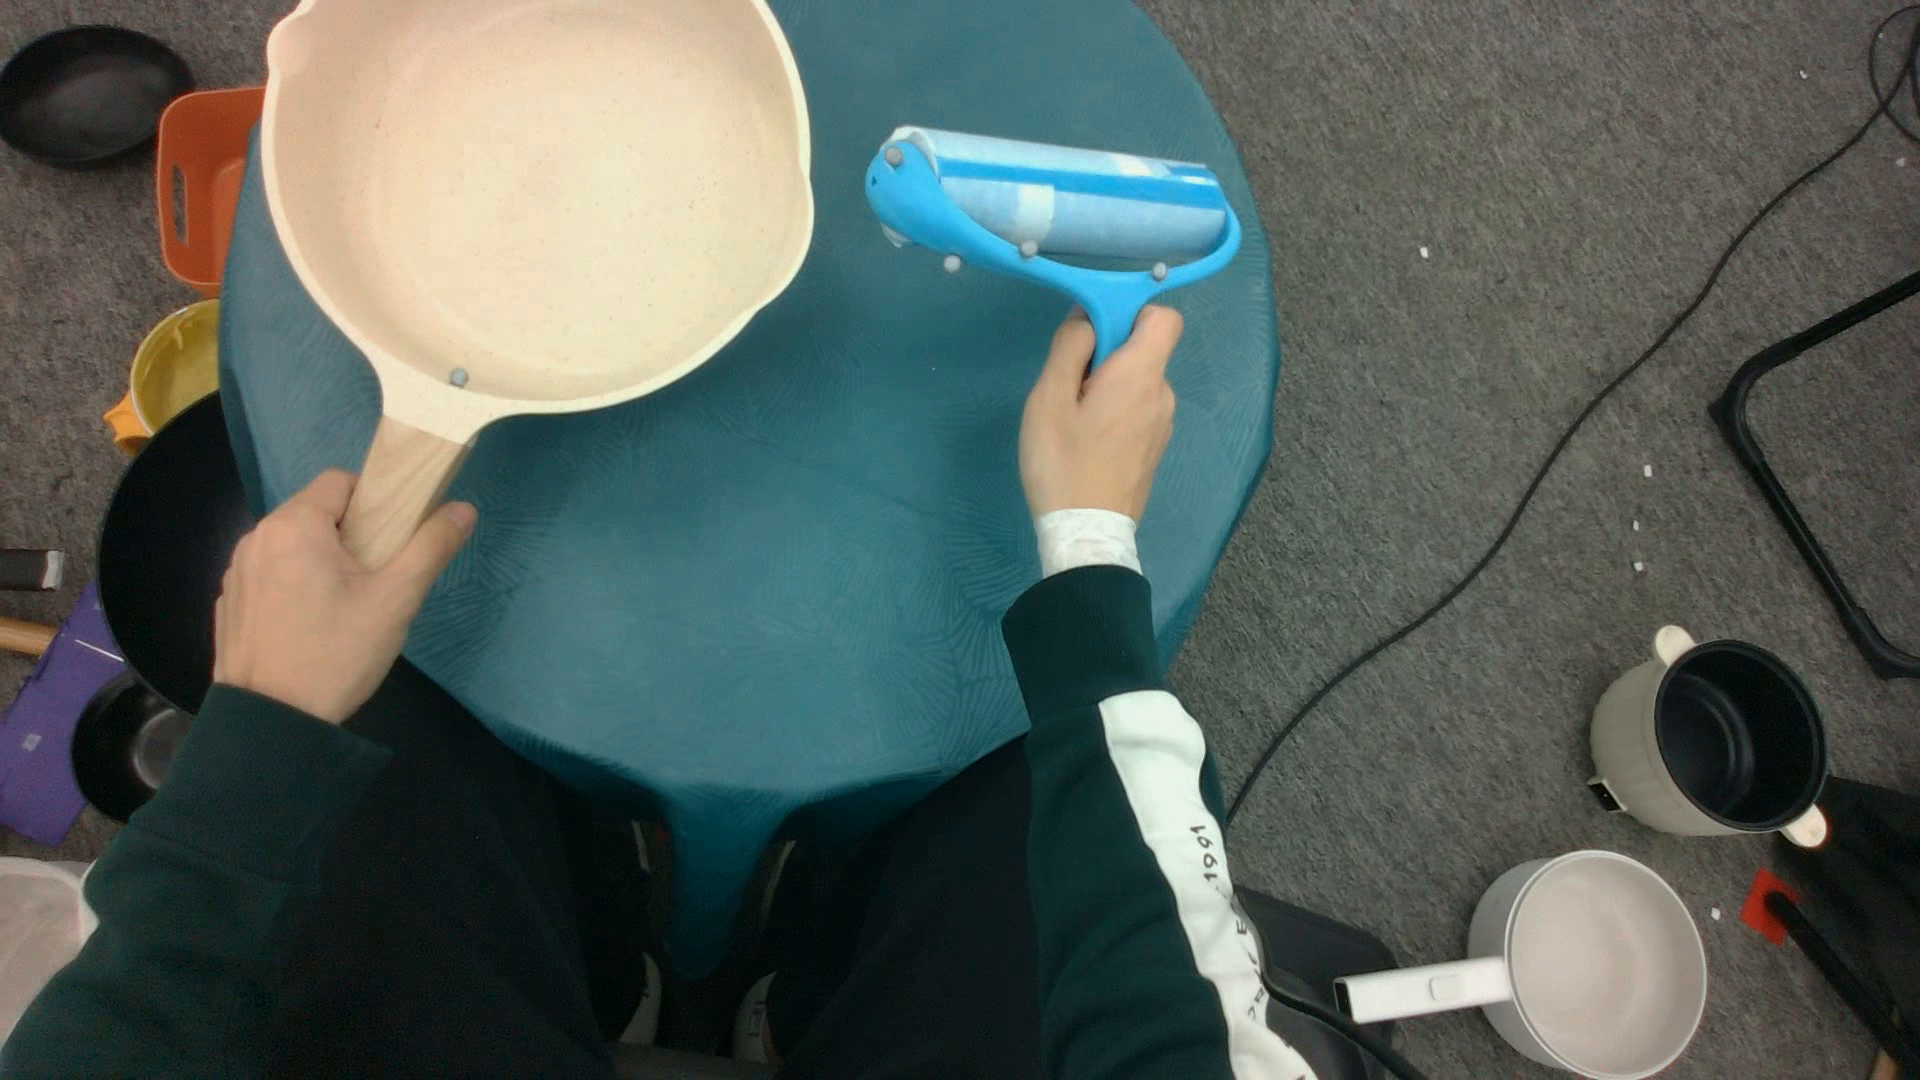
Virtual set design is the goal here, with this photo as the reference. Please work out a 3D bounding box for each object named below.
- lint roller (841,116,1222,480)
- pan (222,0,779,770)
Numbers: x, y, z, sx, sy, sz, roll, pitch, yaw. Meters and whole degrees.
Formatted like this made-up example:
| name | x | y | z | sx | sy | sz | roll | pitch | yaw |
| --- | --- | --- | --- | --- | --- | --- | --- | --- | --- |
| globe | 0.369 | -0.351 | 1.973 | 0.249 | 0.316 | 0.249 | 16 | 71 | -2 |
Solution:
| name | x | y | z | sx | sy | sz | roll | pitch | yaw |
| --- | --- | --- | --- | --- | --- | --- | --- | --- | --- |
| lint roller | 0.051 | -0.125 | 0.711 | 0.229 | 0.067 | 0.180 | -7 | 86 | -36 |
| pan | -0.247 | -0.104 | 0.673 | 0.263 | 0.102 | 0.435 | 19 | 88 | -6 |
